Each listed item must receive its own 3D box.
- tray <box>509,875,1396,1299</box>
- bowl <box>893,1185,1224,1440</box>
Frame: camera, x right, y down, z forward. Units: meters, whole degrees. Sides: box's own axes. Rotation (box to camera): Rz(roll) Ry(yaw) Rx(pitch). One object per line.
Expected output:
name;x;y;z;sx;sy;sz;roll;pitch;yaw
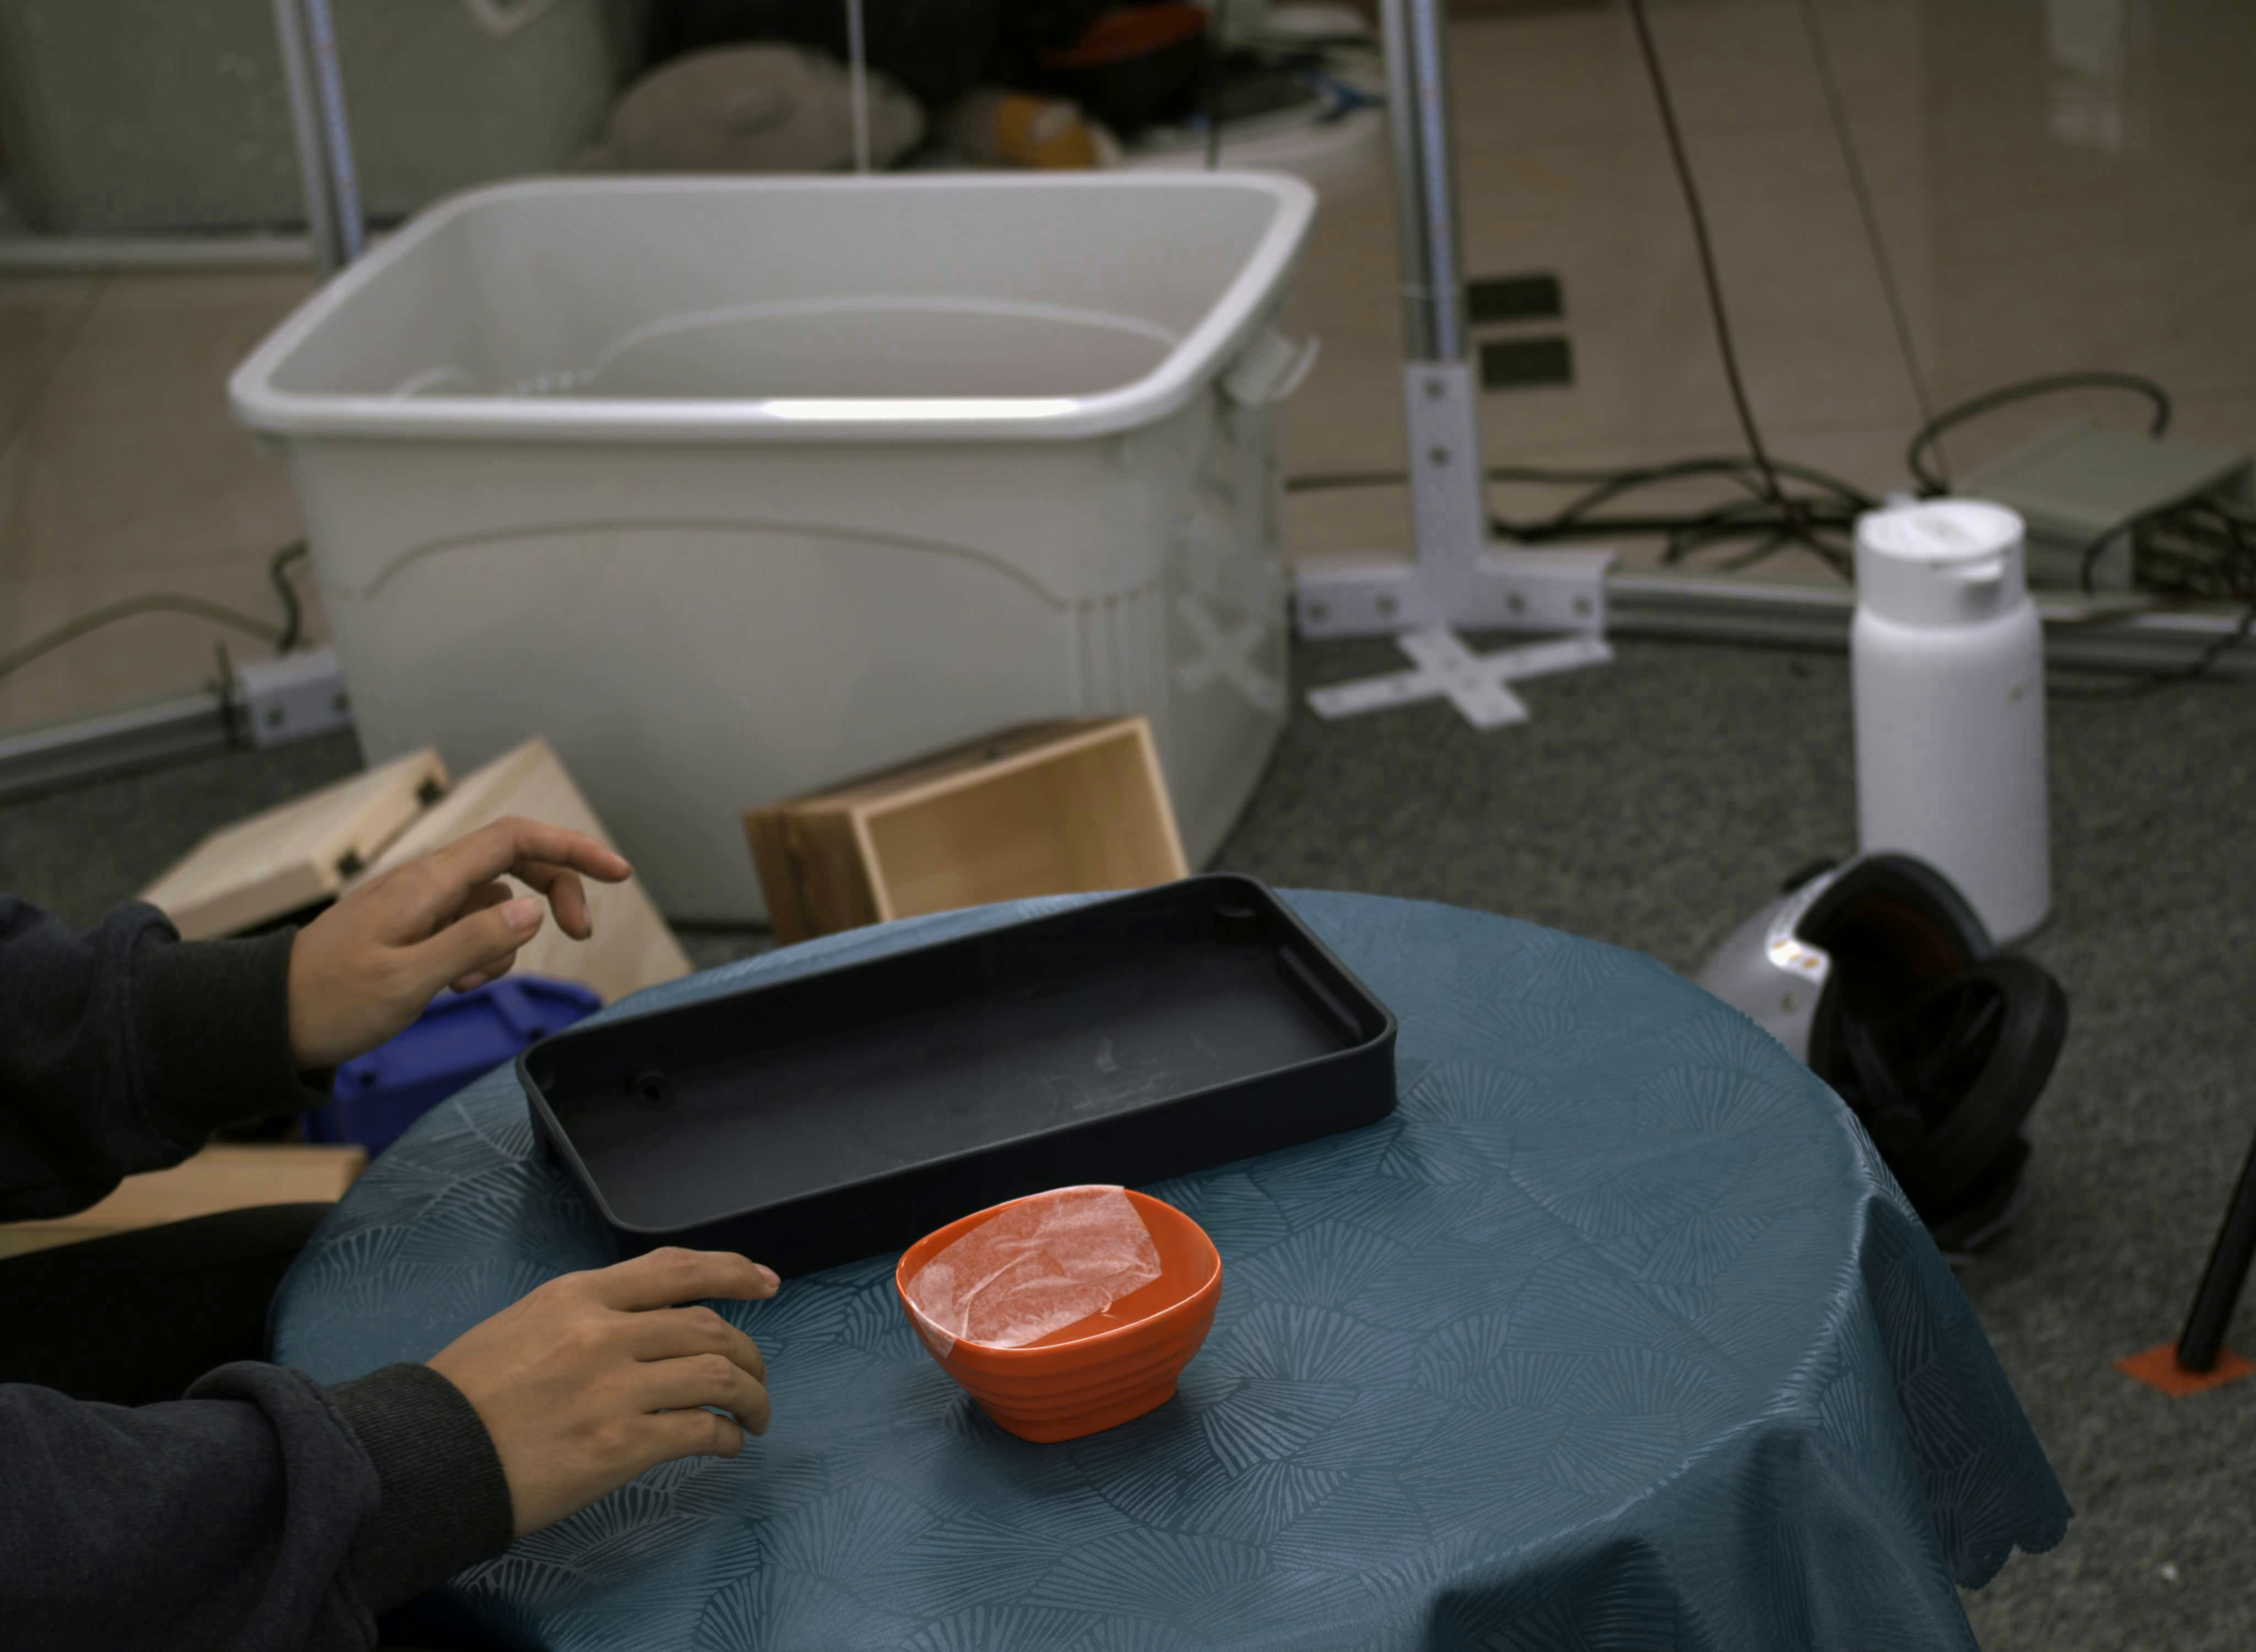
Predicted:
tray;-0.069;0.098;2.205;0.317;0.037;0.182;-13;26;-16
bowl;-0.022;0.177;2.007;0.119;0.052;0.117;-5;24;2
